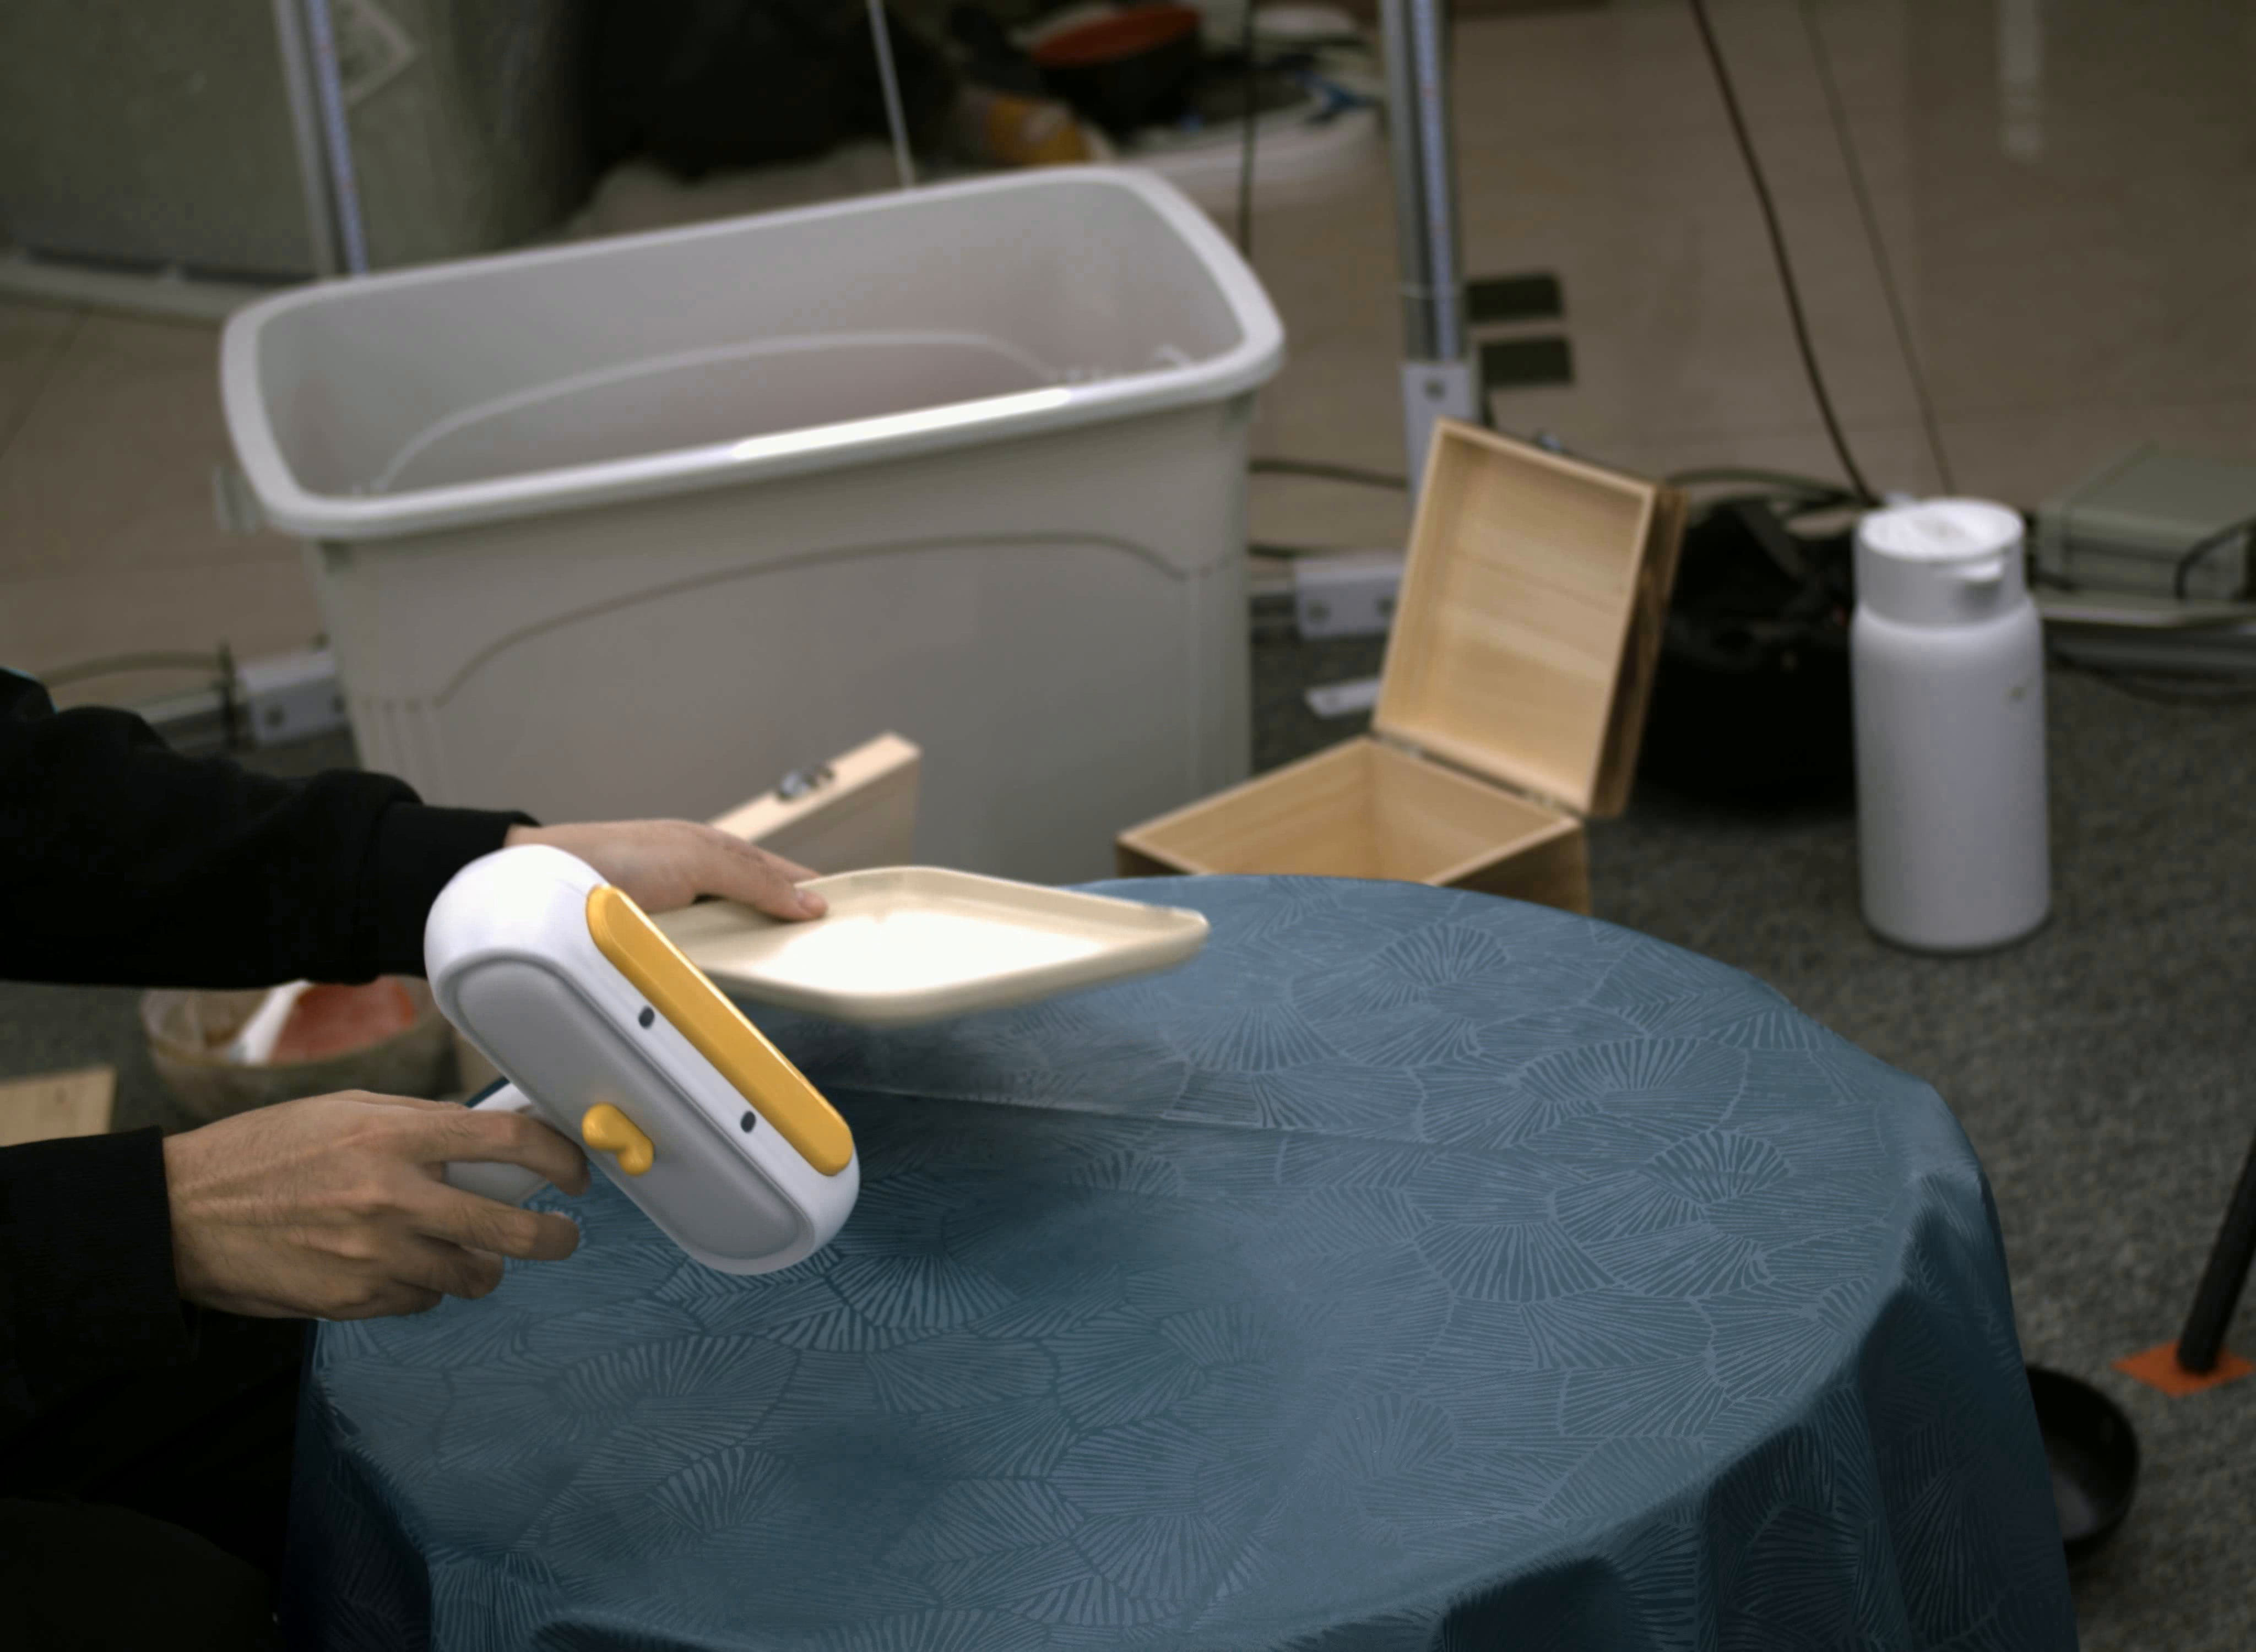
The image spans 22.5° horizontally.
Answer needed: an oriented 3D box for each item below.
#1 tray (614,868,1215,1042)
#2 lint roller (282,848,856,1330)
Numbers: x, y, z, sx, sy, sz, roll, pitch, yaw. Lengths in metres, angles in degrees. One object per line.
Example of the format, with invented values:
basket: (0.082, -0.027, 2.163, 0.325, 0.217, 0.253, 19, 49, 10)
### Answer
tray: (-0.091, 0.050, 2.202, 0.170, 0.017, 0.238, -13, 13, -34)
lint roller: (-0.215, 0.110, 1.962, 0.193, 0.195, 0.073, -29, 40, 27)
